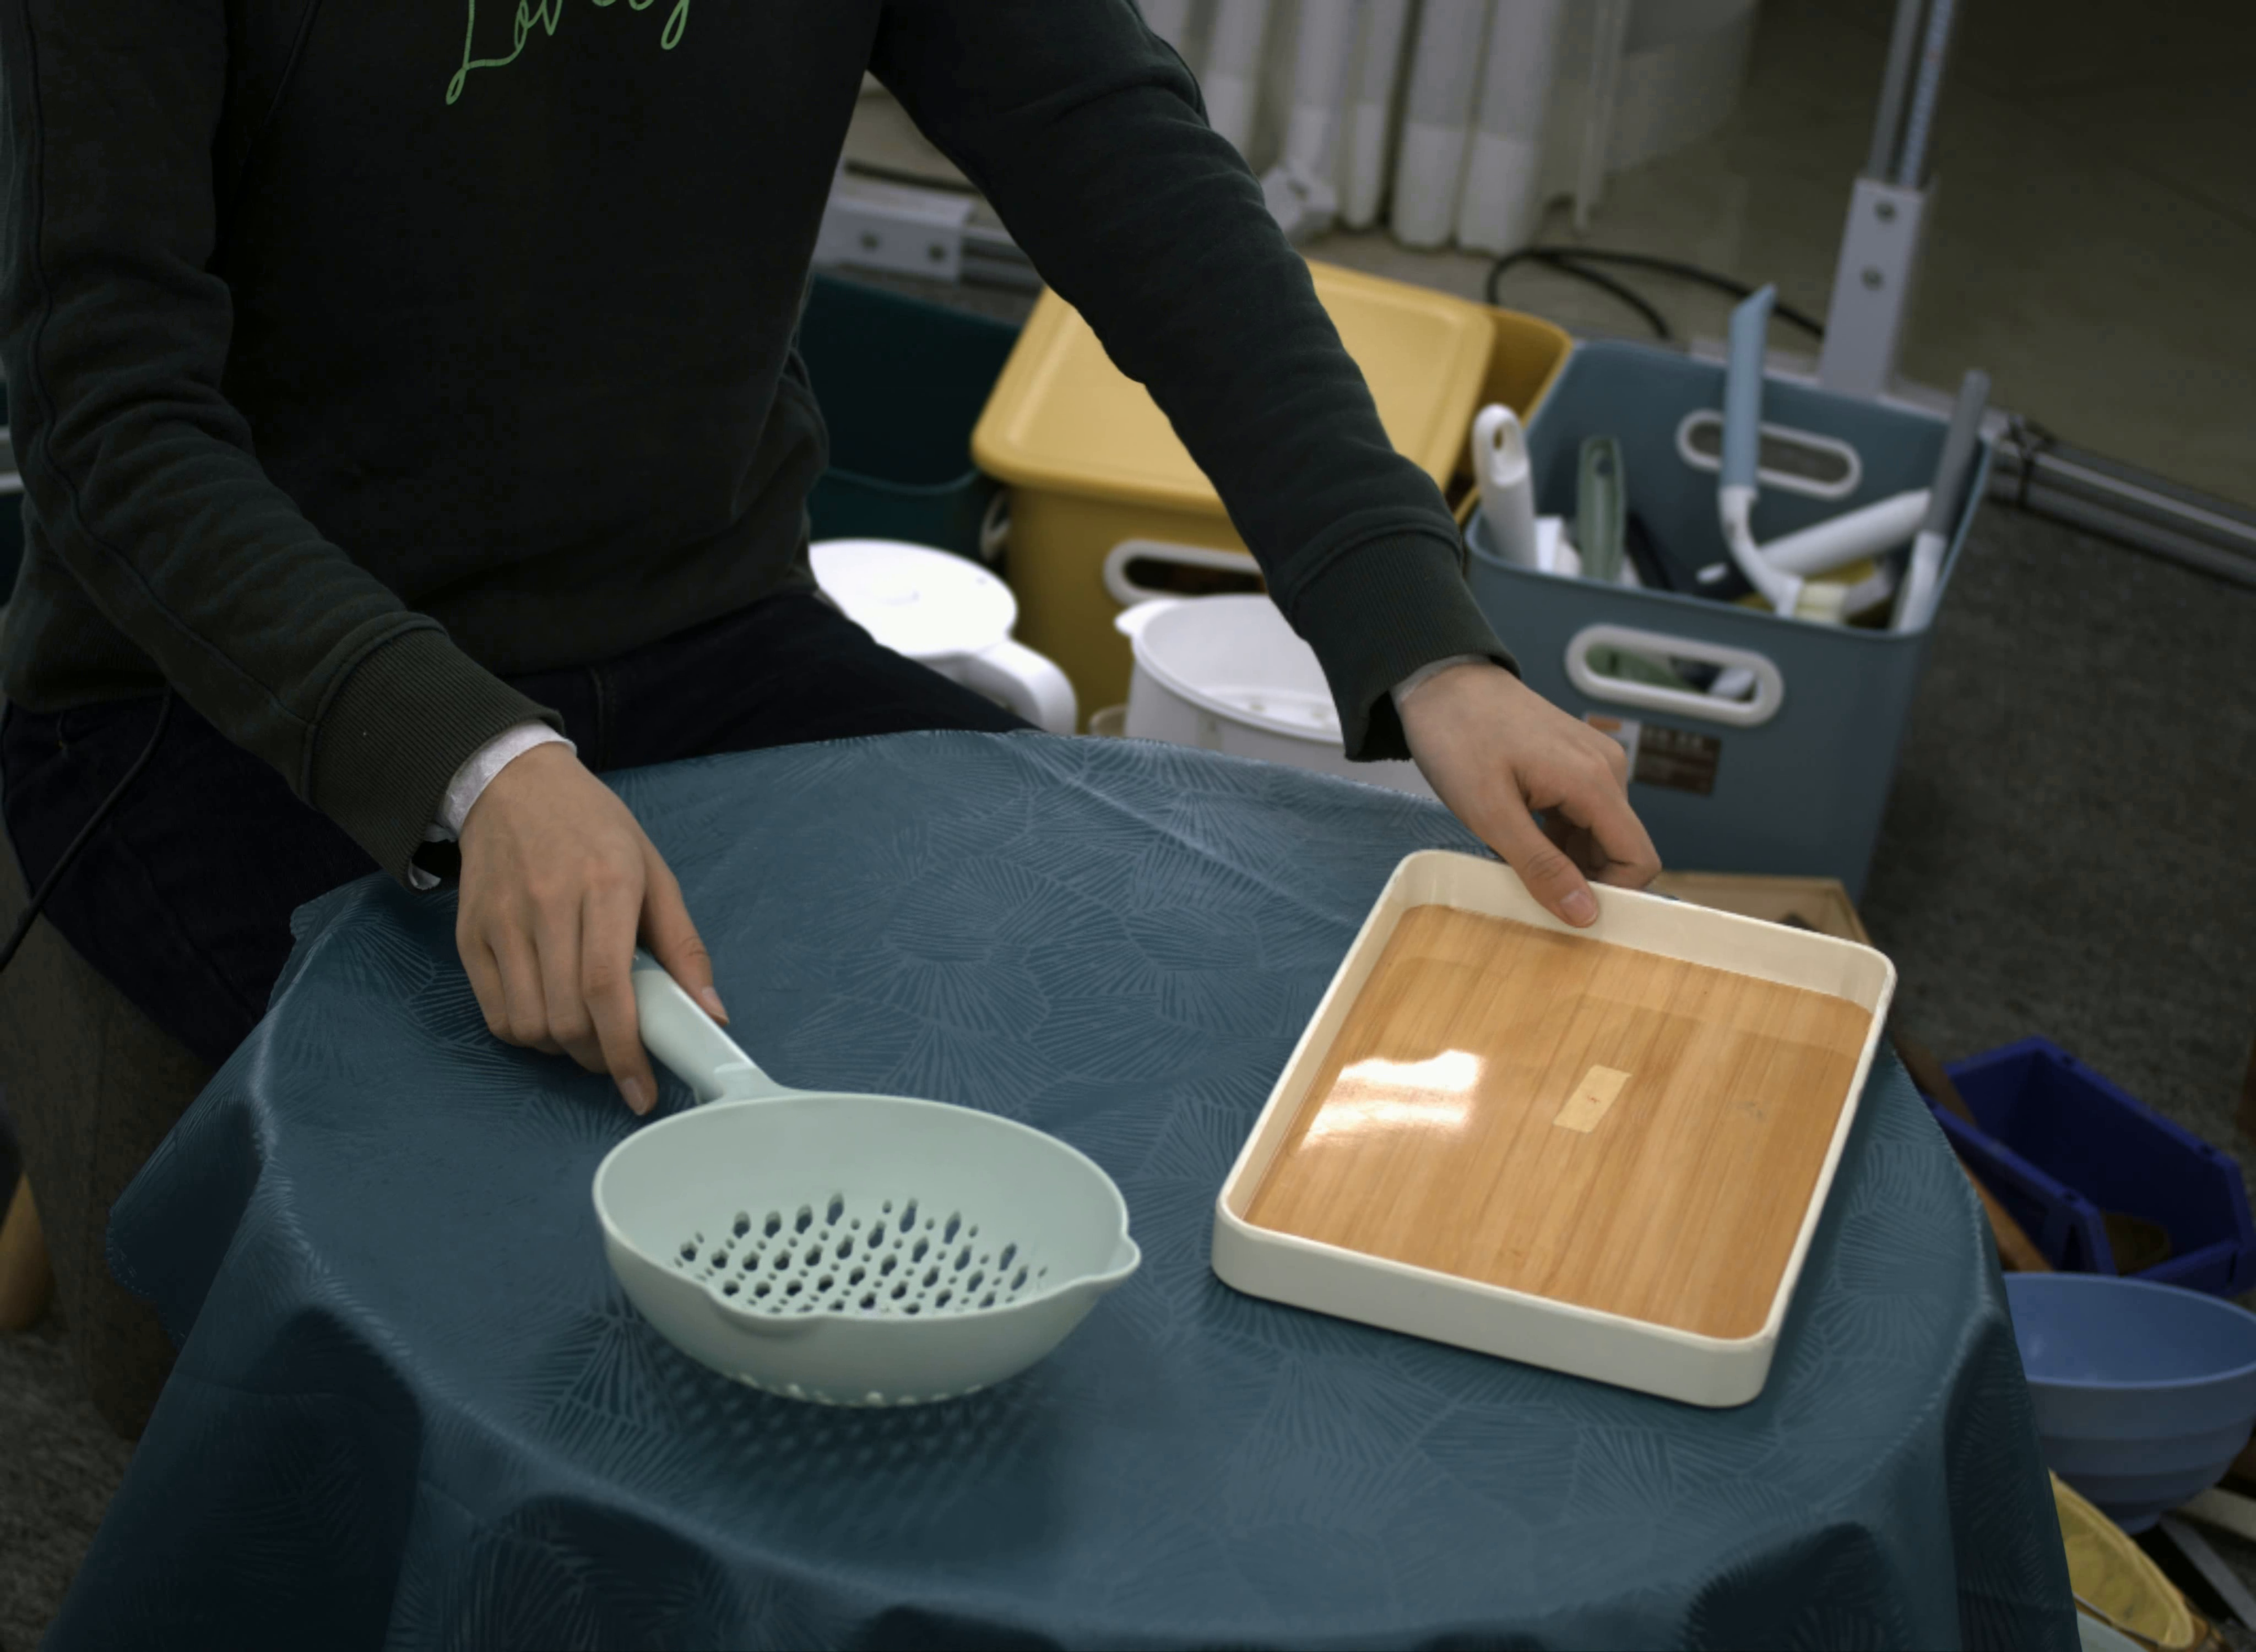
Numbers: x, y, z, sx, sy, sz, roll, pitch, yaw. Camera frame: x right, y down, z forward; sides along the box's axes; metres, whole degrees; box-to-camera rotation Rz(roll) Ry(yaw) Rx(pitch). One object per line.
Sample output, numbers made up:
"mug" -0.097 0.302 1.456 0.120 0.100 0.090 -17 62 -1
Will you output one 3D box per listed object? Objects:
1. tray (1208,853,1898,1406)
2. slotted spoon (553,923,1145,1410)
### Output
"tray" 0.154 0.099 1.854 0.192 0.027 0.301 13 27 12
"slotted spoon" -0.125 0.096 1.753 0.168 0.075 0.362 -4 29 -25
